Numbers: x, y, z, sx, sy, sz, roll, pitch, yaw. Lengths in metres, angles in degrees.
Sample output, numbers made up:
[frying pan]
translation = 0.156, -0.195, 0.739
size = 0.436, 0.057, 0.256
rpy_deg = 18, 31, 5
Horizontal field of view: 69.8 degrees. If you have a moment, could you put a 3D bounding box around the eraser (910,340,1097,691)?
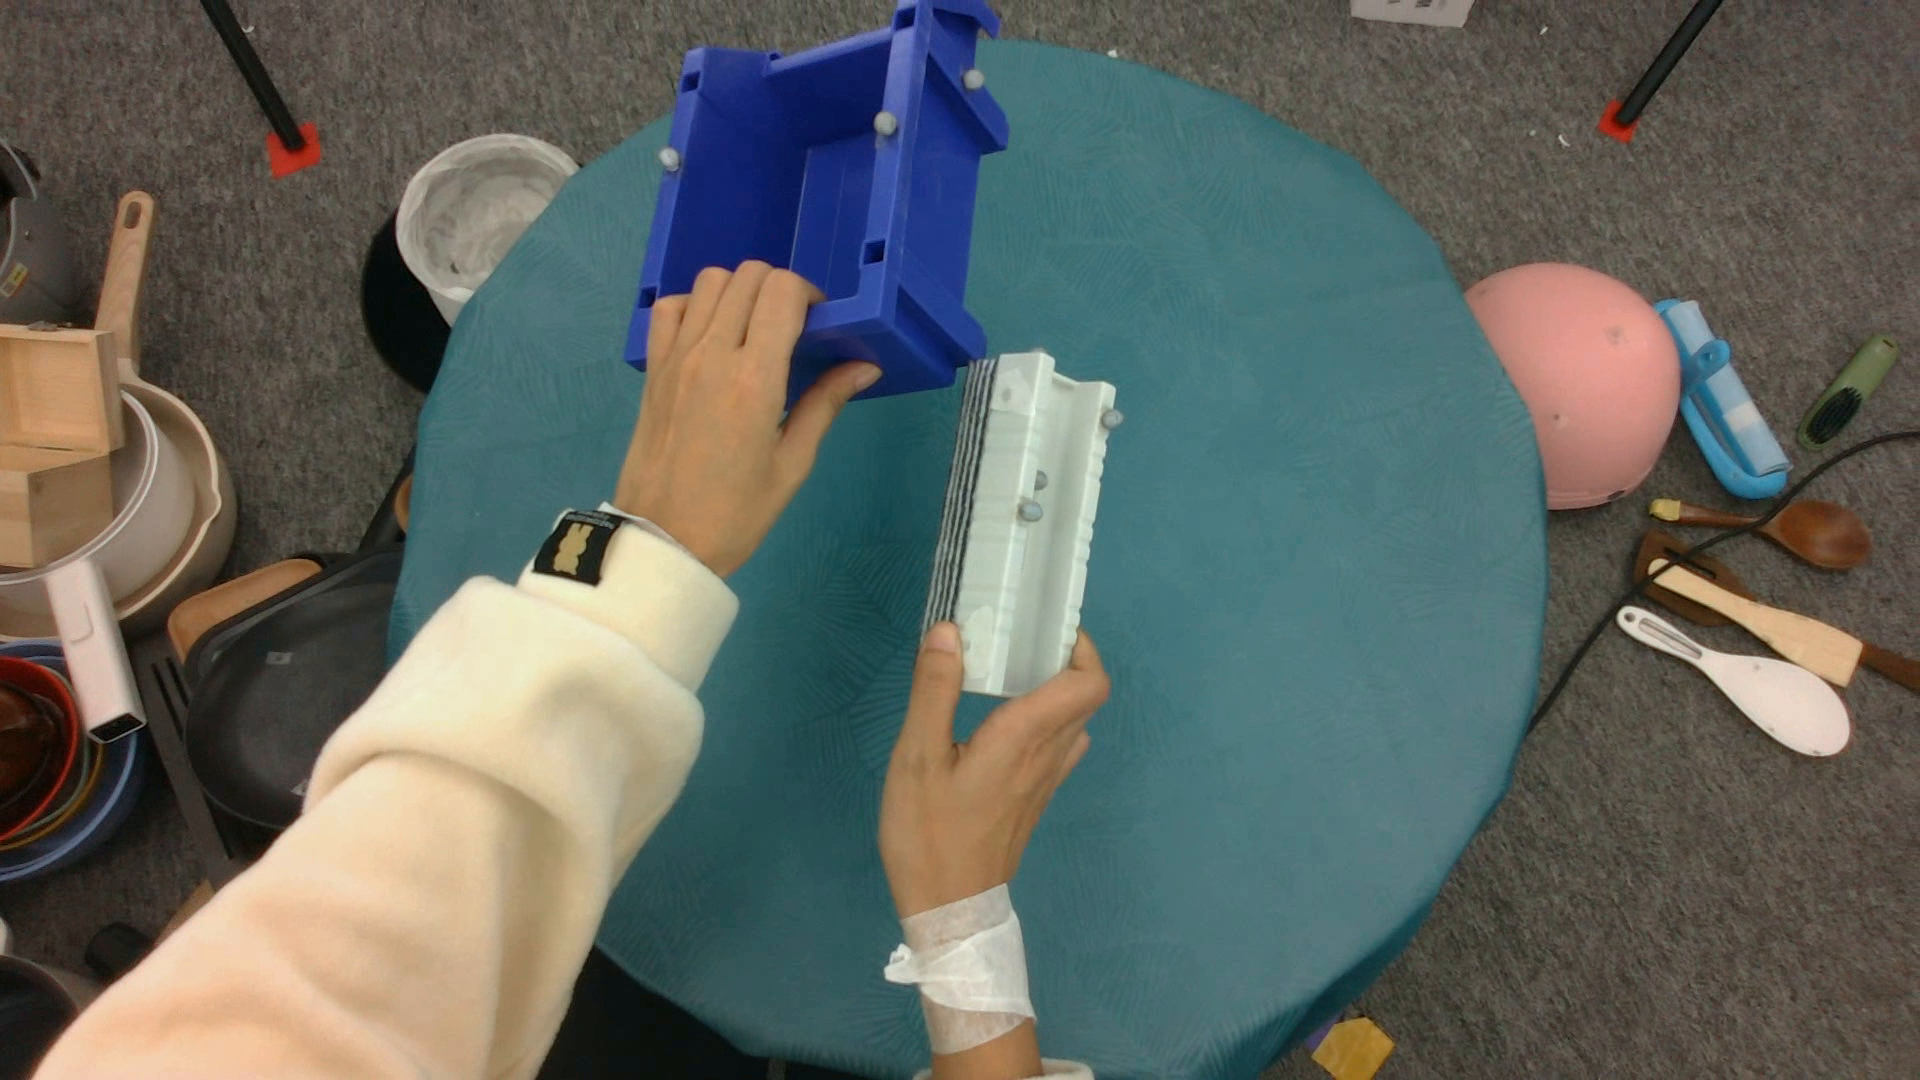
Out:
[eraser]
translation = 0.017, -0.009, 0.557
size = 0.046, 0.050, 0.134
rpy_deg = 2, 82, 42

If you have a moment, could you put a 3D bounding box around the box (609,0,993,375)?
[box]
translation = -0.063, -0.161, 0.586
size = 0.124, 0.082, 0.180
rpy_deg = -3, 70, 28
